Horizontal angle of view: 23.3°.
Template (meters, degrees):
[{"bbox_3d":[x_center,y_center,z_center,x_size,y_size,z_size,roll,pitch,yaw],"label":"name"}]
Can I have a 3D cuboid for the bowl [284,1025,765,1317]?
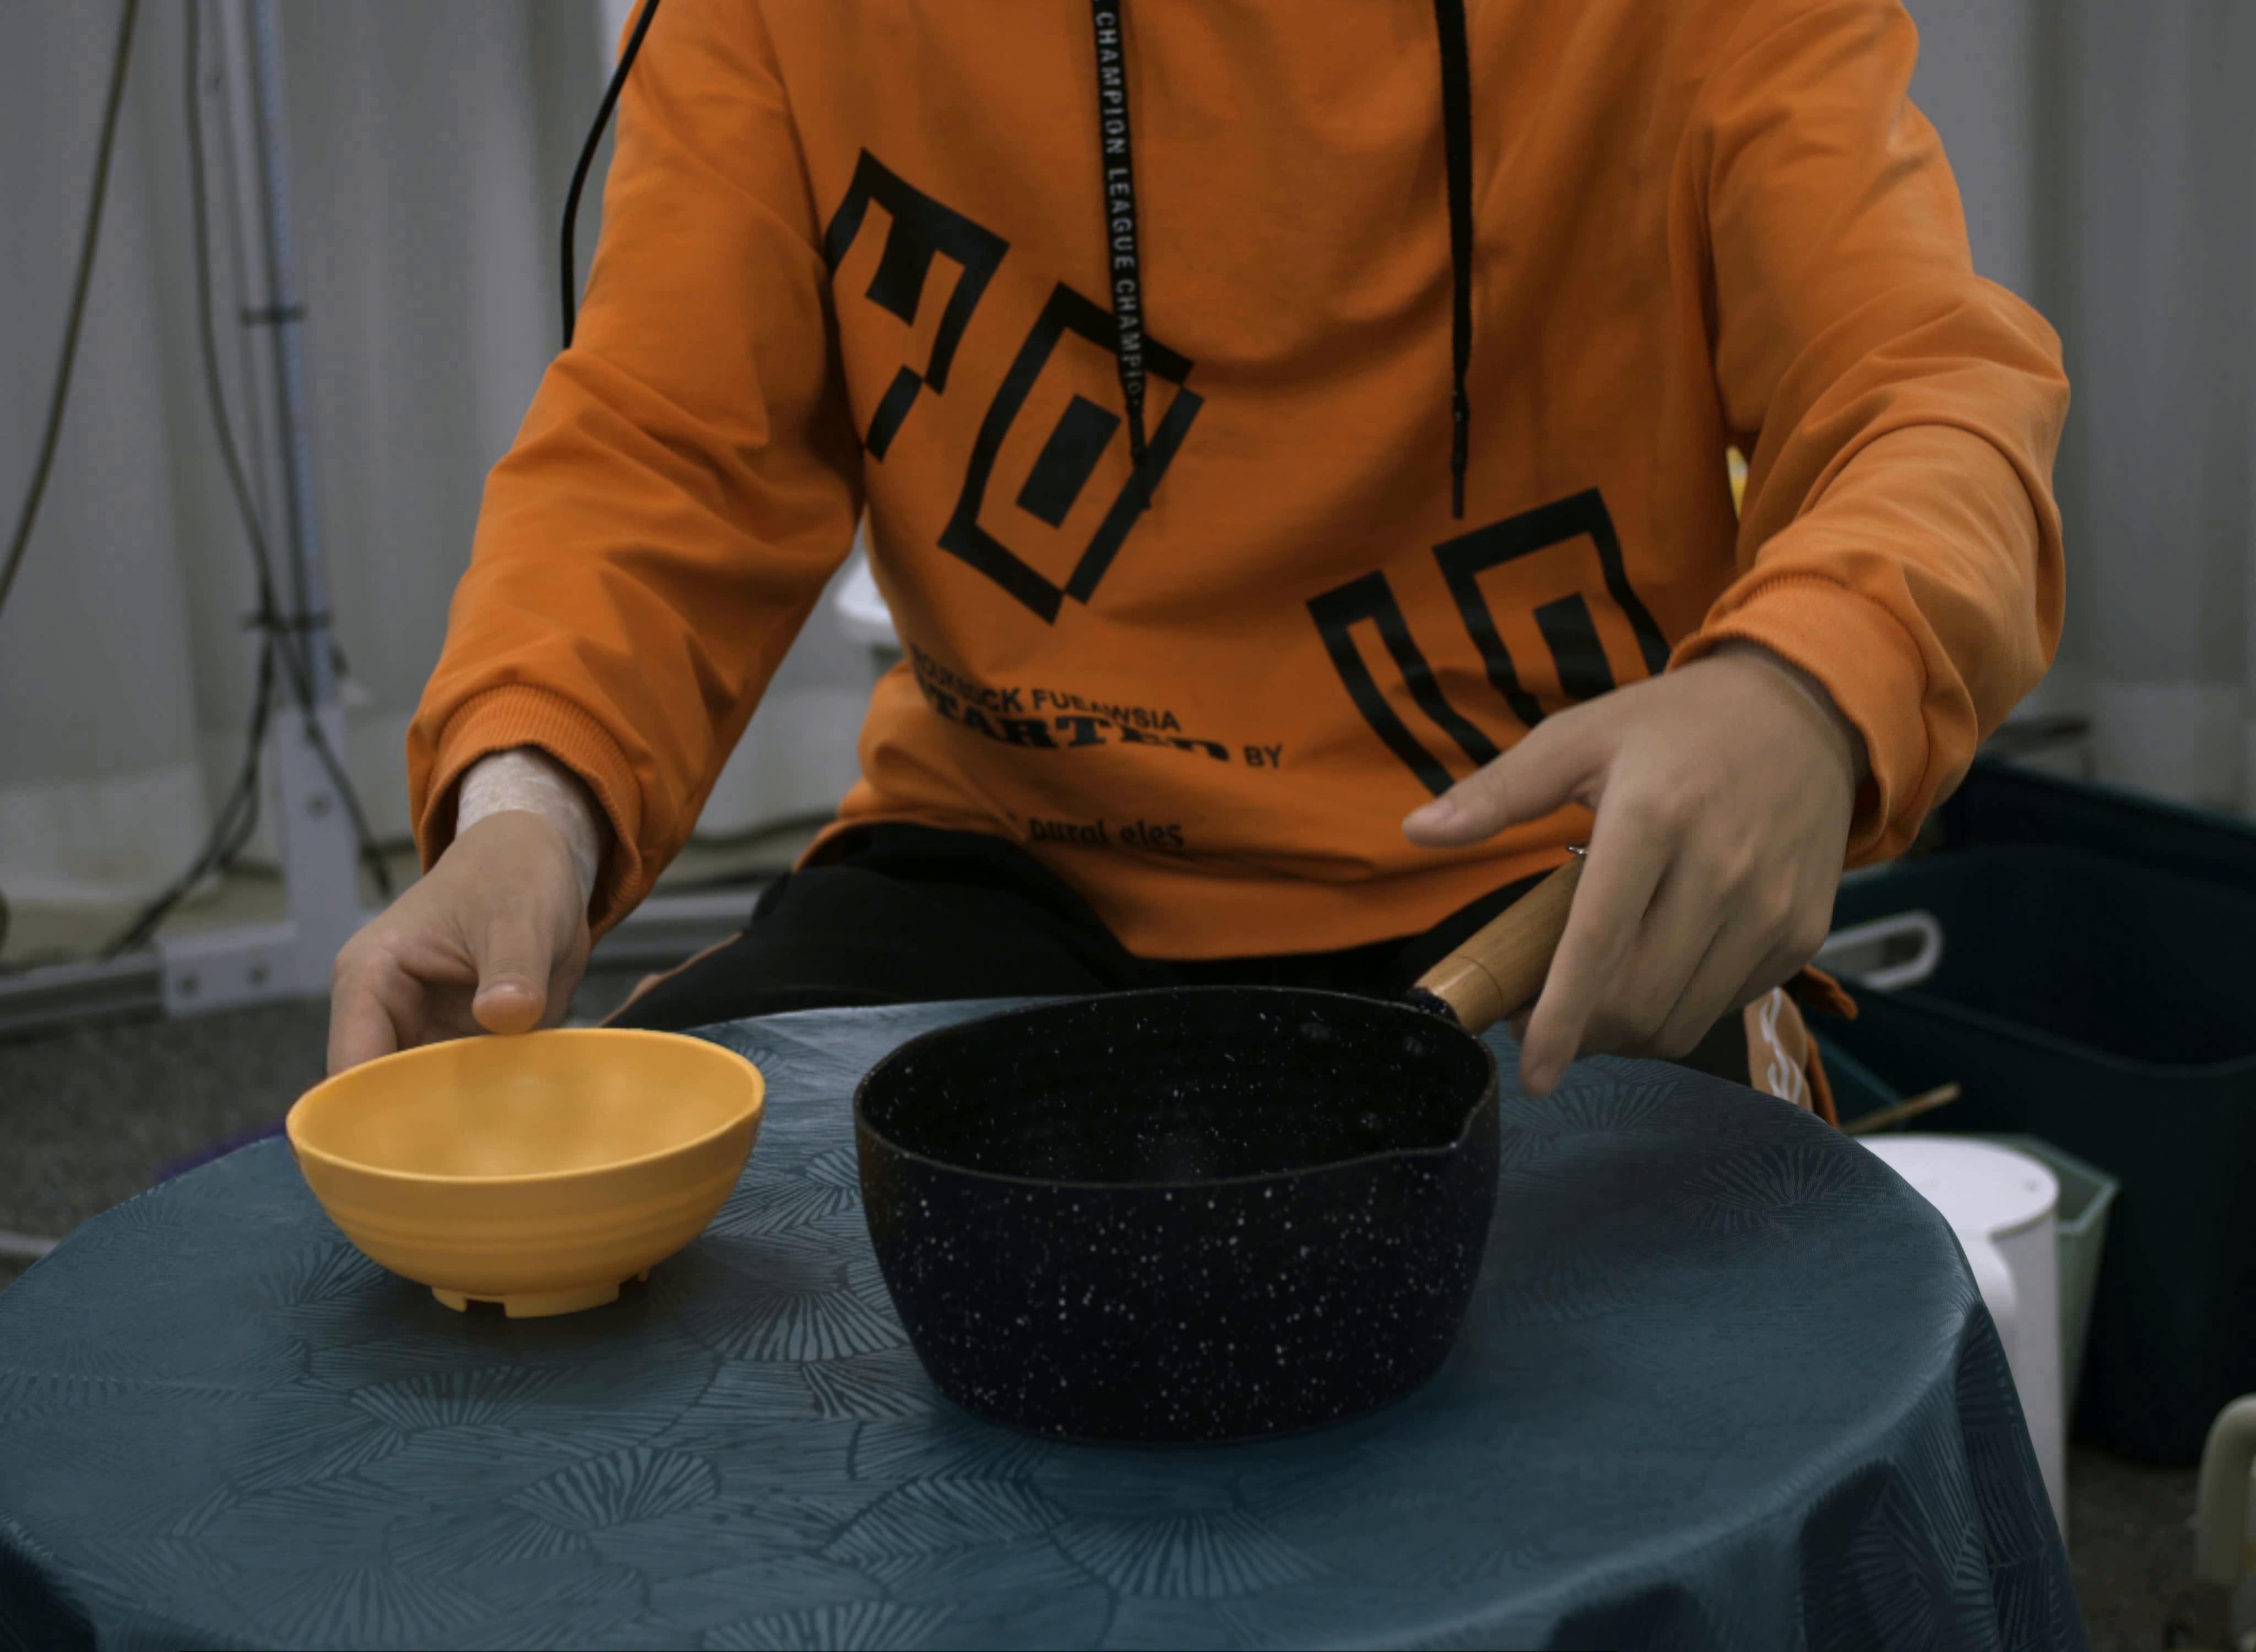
[{"bbox_3d":[-0.181,0.110,1.656,0.145,0.060,0.146,-2,15,0],"label":"bowl"}]

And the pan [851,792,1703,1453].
[{"bbox_3d":[0.065,0.083,1.616,0.208,0.108,0.343,8,20,39],"label":"pan"}]
